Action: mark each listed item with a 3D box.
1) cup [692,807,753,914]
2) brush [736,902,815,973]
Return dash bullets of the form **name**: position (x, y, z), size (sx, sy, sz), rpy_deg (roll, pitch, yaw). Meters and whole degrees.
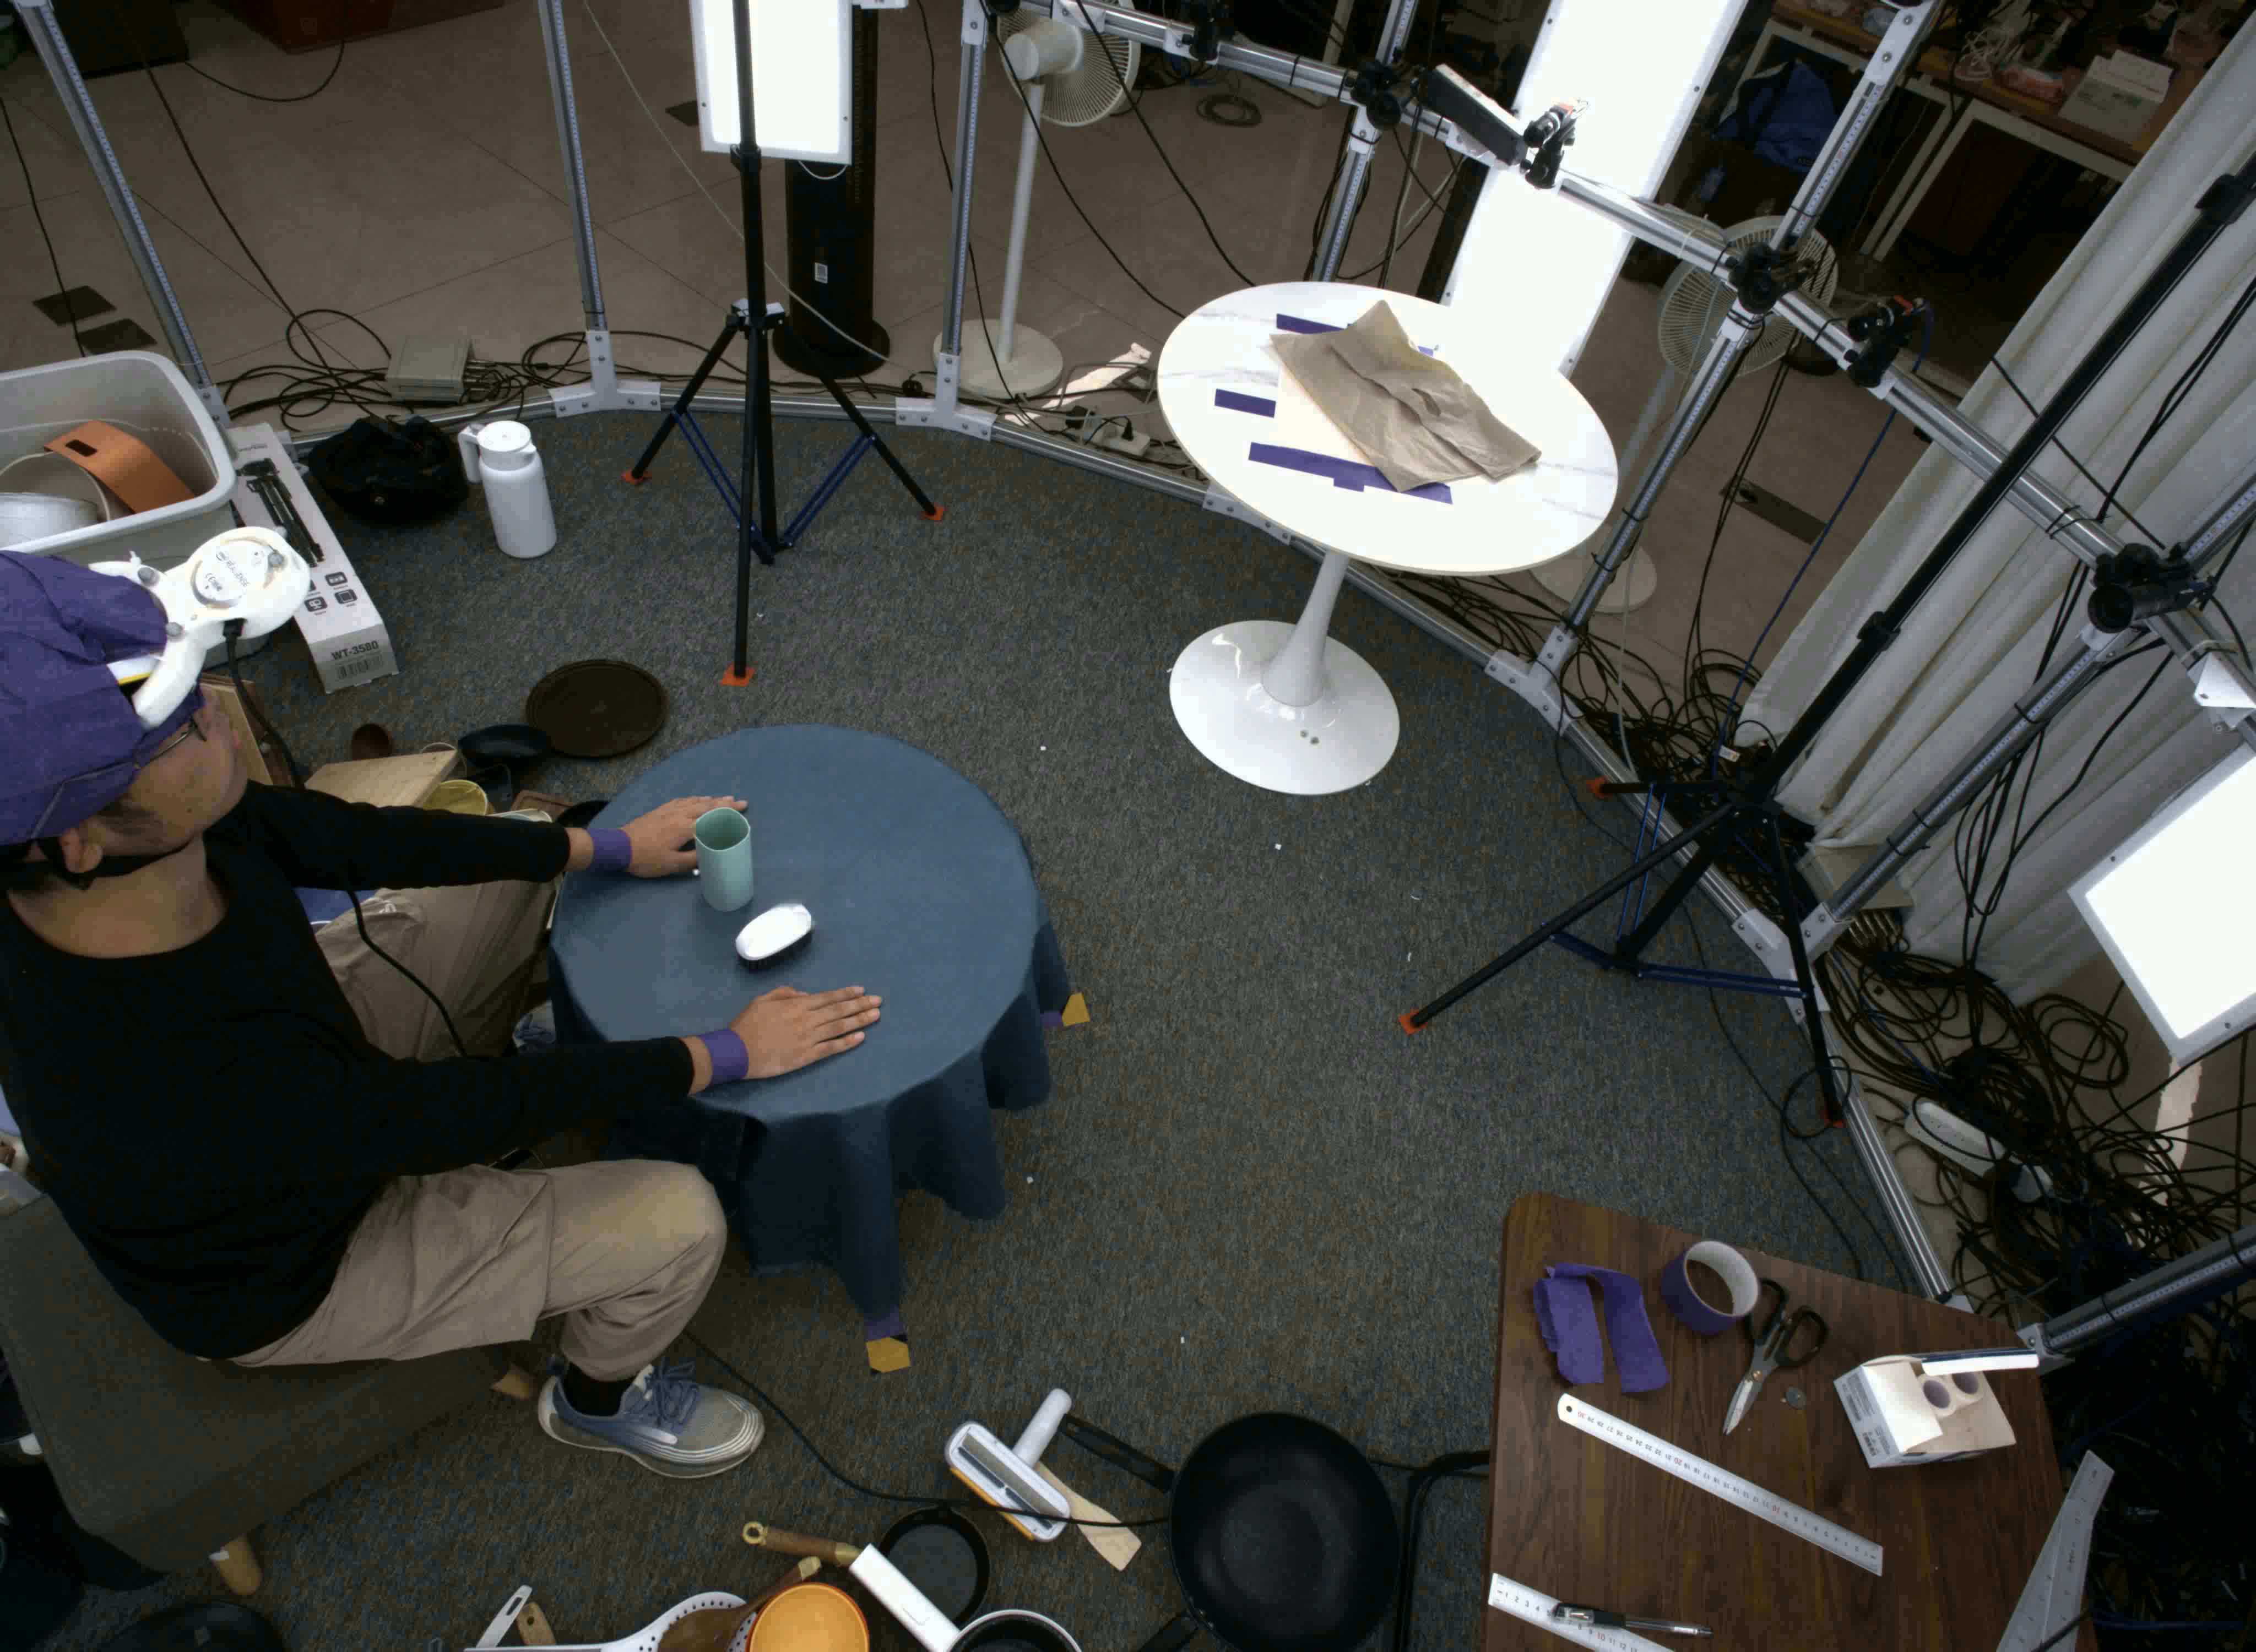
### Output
- **cup**: position (-0.499, 0.044, 1.597), size (0.066, 0.135, 0.065), rpy_deg (7, 51, -7)
- **brush**: position (-0.432, 0.127, 1.583), size (0.099, 0.074, 0.049), rpy_deg (-29, 62, -31)
